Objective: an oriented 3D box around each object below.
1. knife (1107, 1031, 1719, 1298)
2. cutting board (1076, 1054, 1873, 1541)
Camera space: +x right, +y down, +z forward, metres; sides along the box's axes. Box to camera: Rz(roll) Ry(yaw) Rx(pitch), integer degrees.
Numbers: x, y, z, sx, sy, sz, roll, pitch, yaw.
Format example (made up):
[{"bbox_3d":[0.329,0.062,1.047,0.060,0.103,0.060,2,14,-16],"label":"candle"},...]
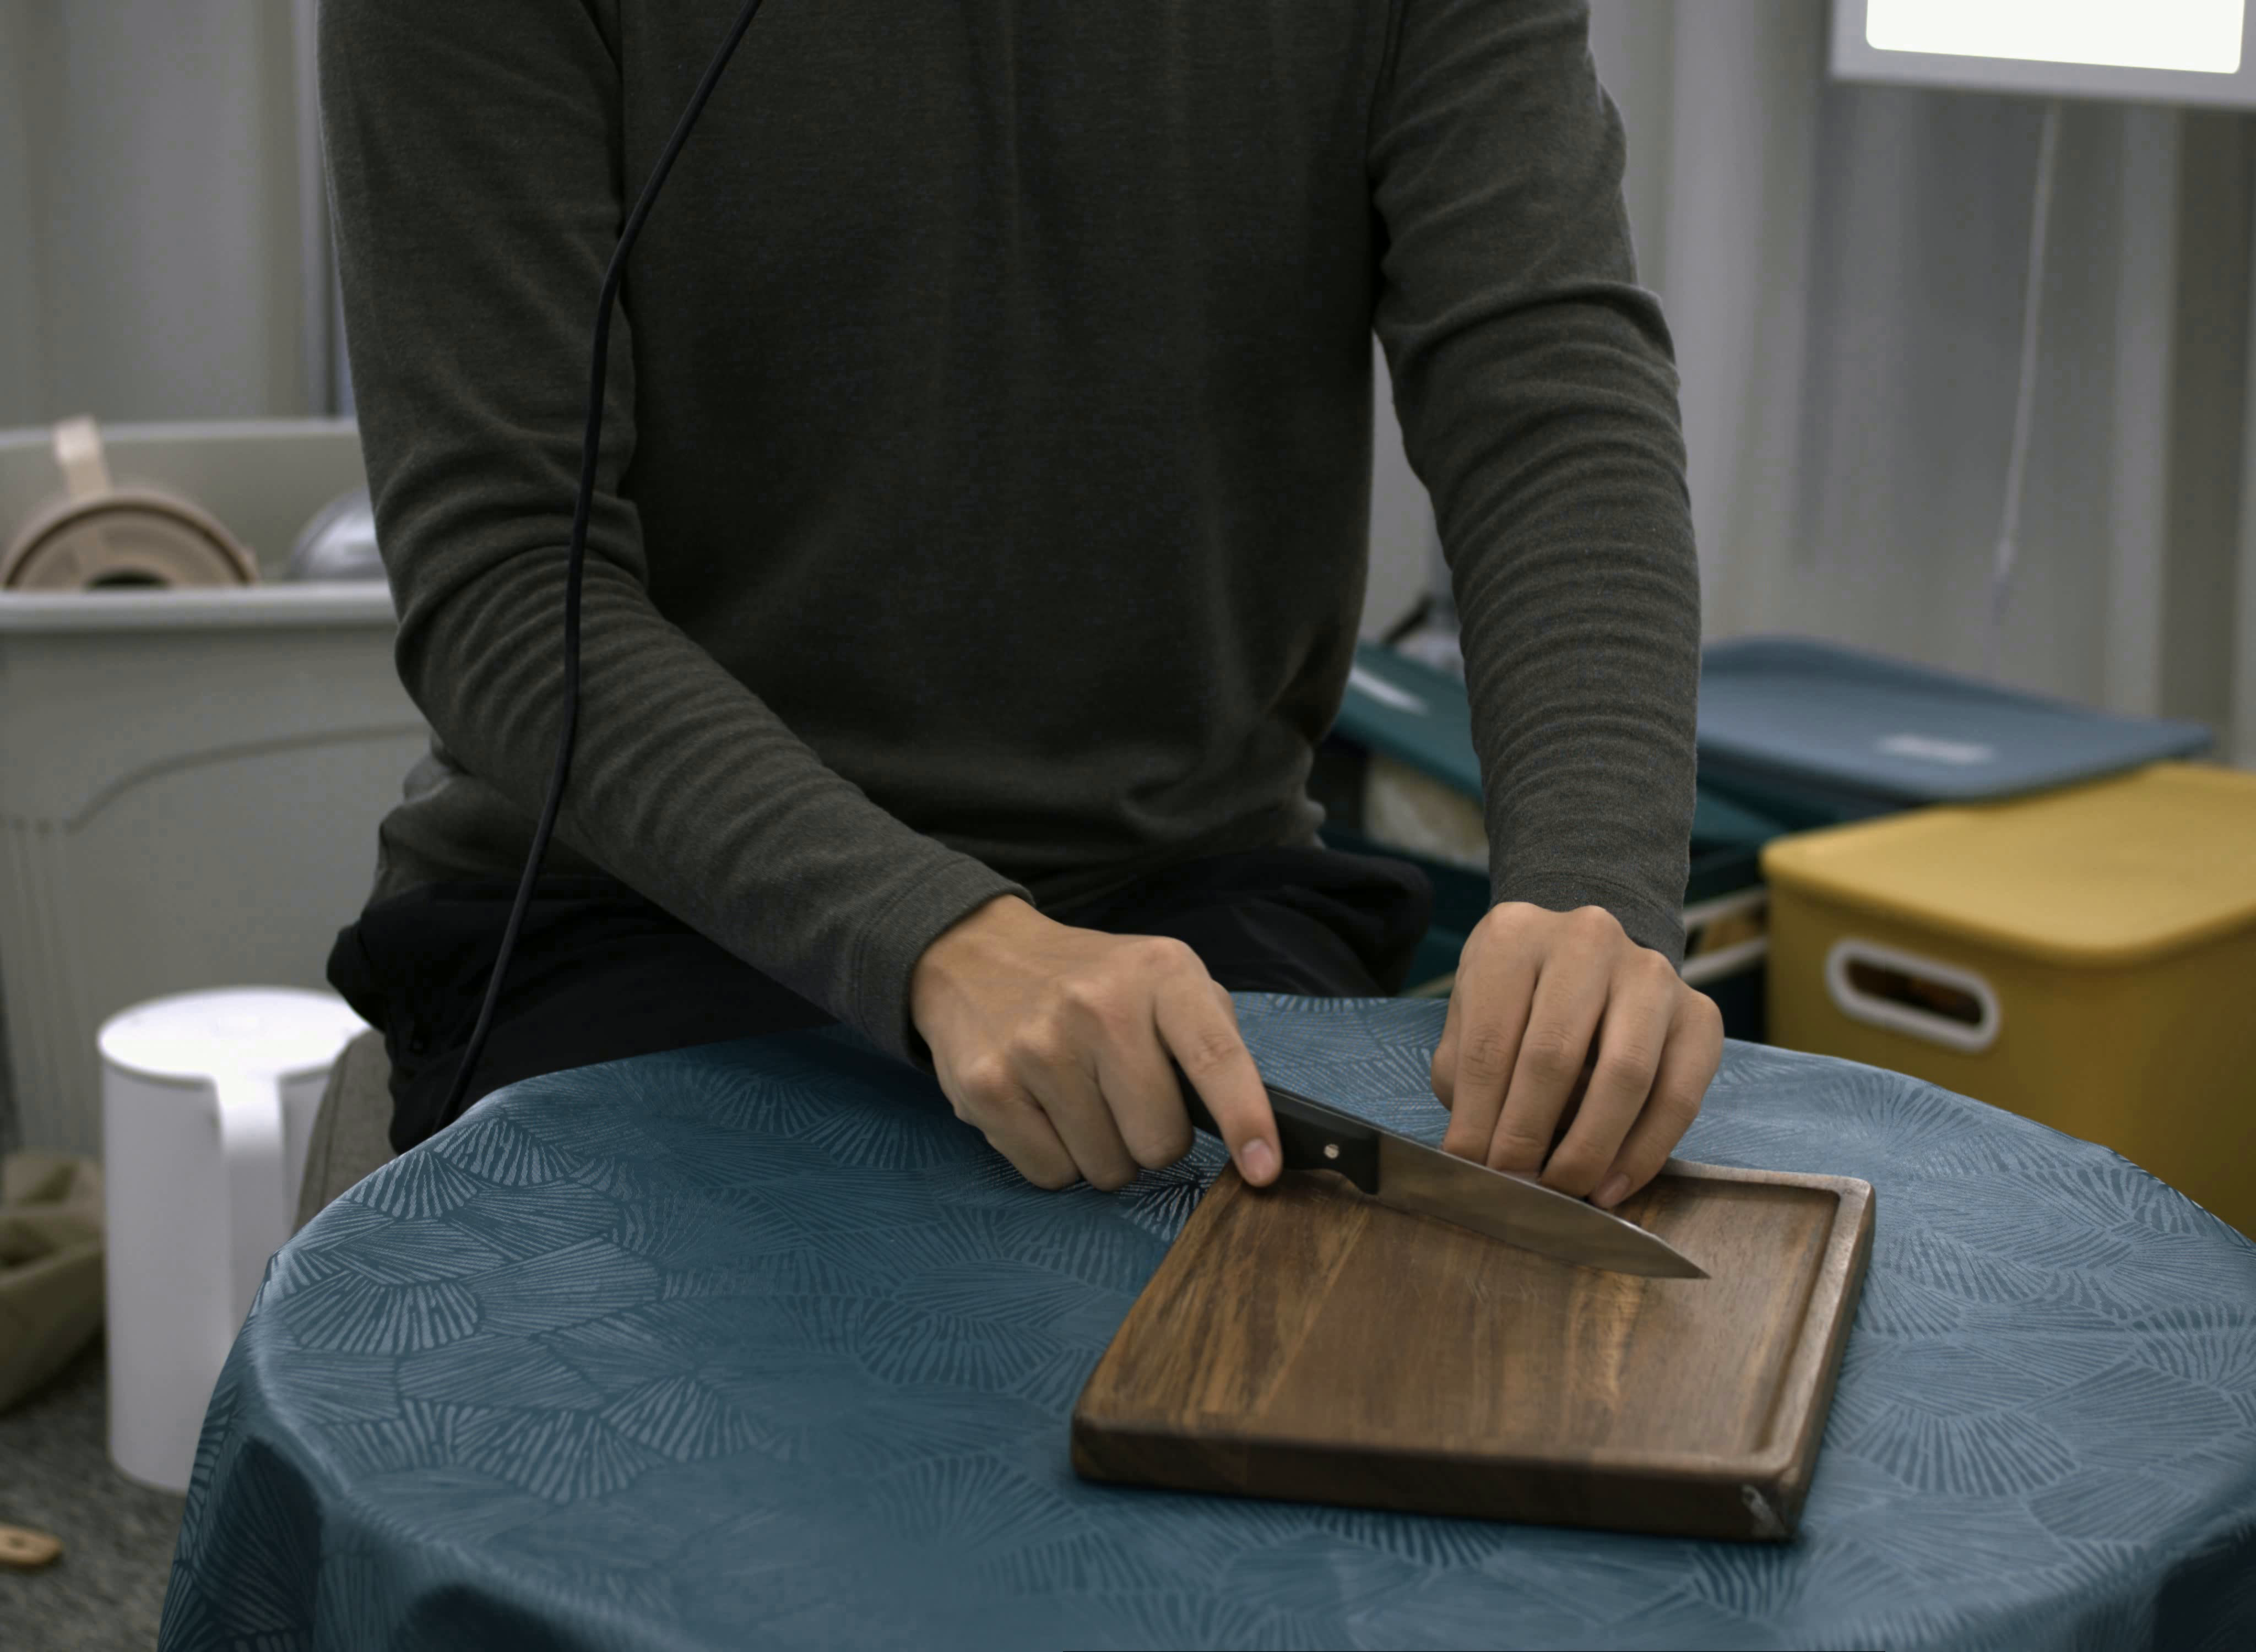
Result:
[{"bbox_3d":[0.082,0.099,1.558,0.235,0.024,0.016,19,21,40],"label":"knife"},{"bbox_3d":[0.115,0.127,1.538,0.199,0.023,0.351,4,15,11],"label":"cutting board"}]
